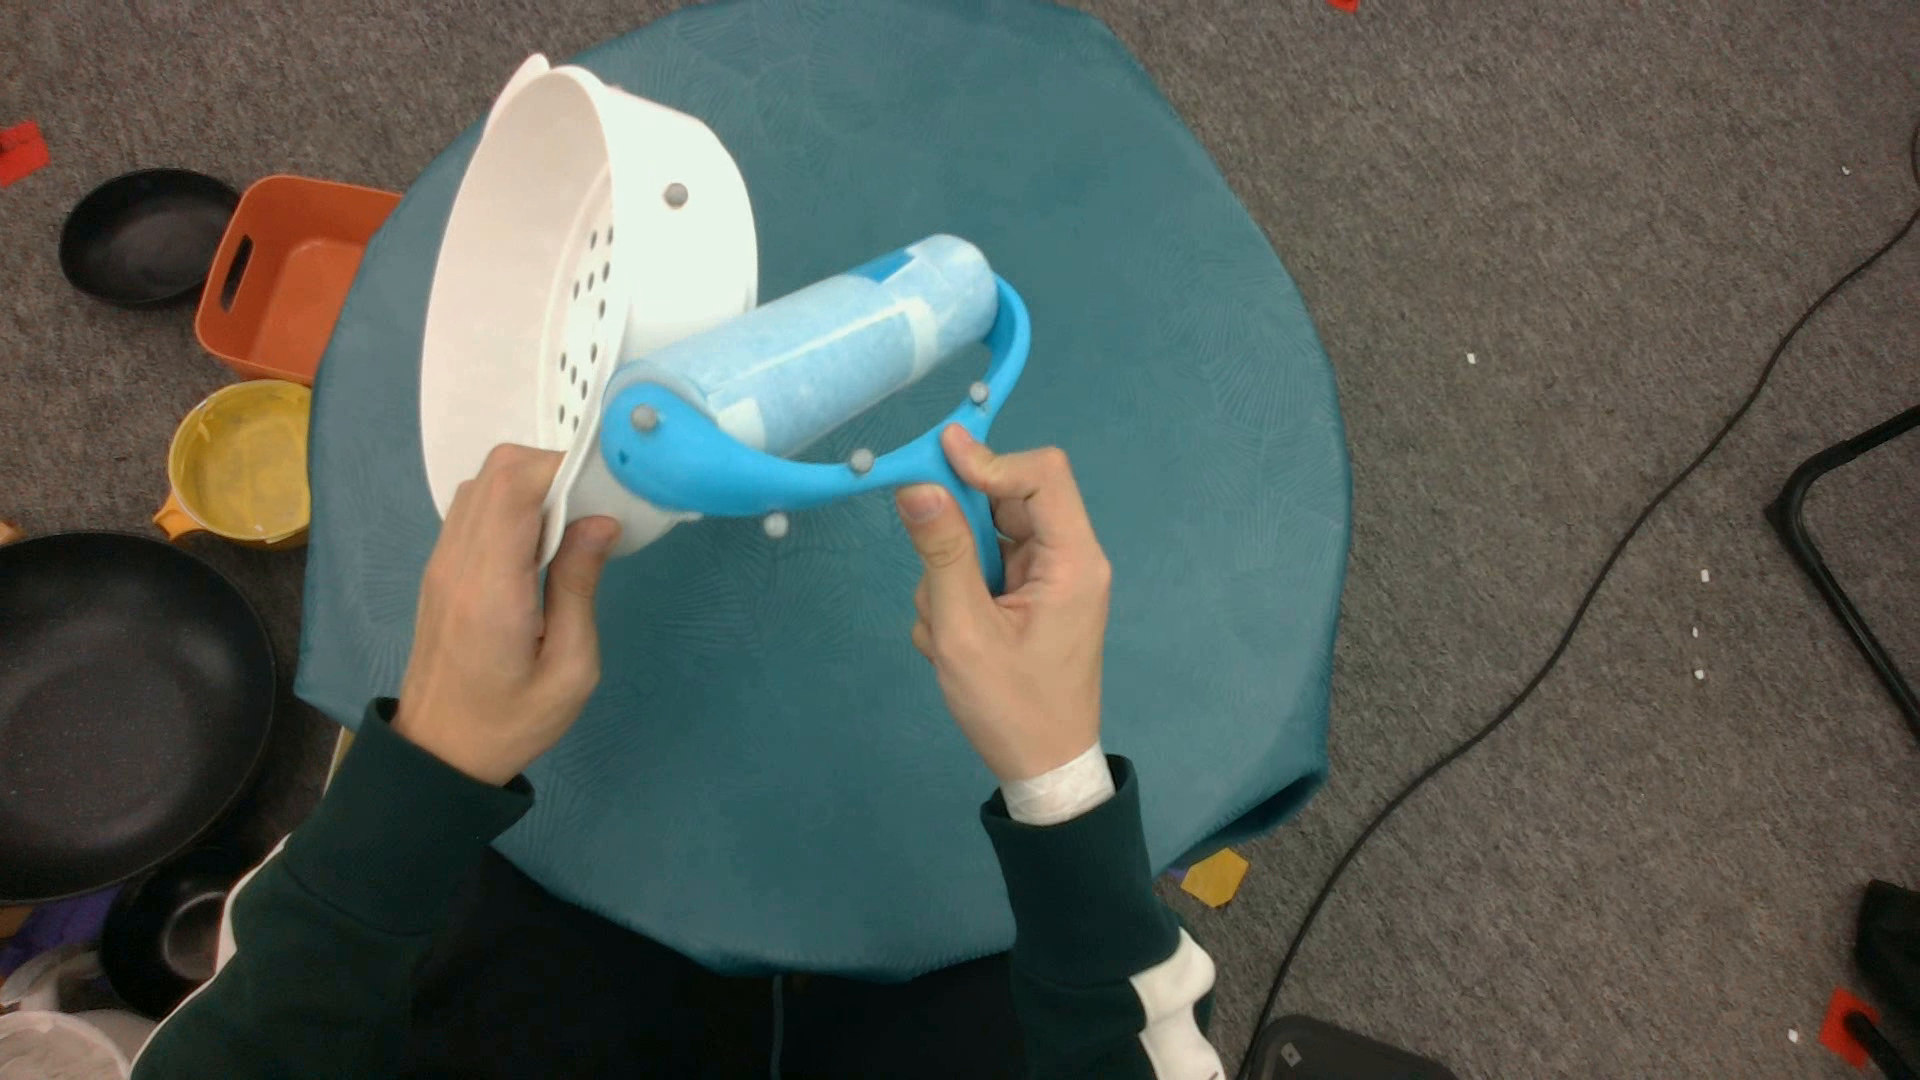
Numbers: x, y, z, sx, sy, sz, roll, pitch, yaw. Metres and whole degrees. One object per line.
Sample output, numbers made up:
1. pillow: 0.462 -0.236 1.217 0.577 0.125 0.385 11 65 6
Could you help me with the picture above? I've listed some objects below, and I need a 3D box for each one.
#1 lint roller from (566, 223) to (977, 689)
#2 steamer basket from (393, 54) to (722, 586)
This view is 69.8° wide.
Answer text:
1. lint roller: -0.034 -0.025 0.542 0.180 0.067 0.230 53 34 -10
2. steamer basket: -0.176 -0.094 0.587 0.069 0.201 0.231 4 67 -40
